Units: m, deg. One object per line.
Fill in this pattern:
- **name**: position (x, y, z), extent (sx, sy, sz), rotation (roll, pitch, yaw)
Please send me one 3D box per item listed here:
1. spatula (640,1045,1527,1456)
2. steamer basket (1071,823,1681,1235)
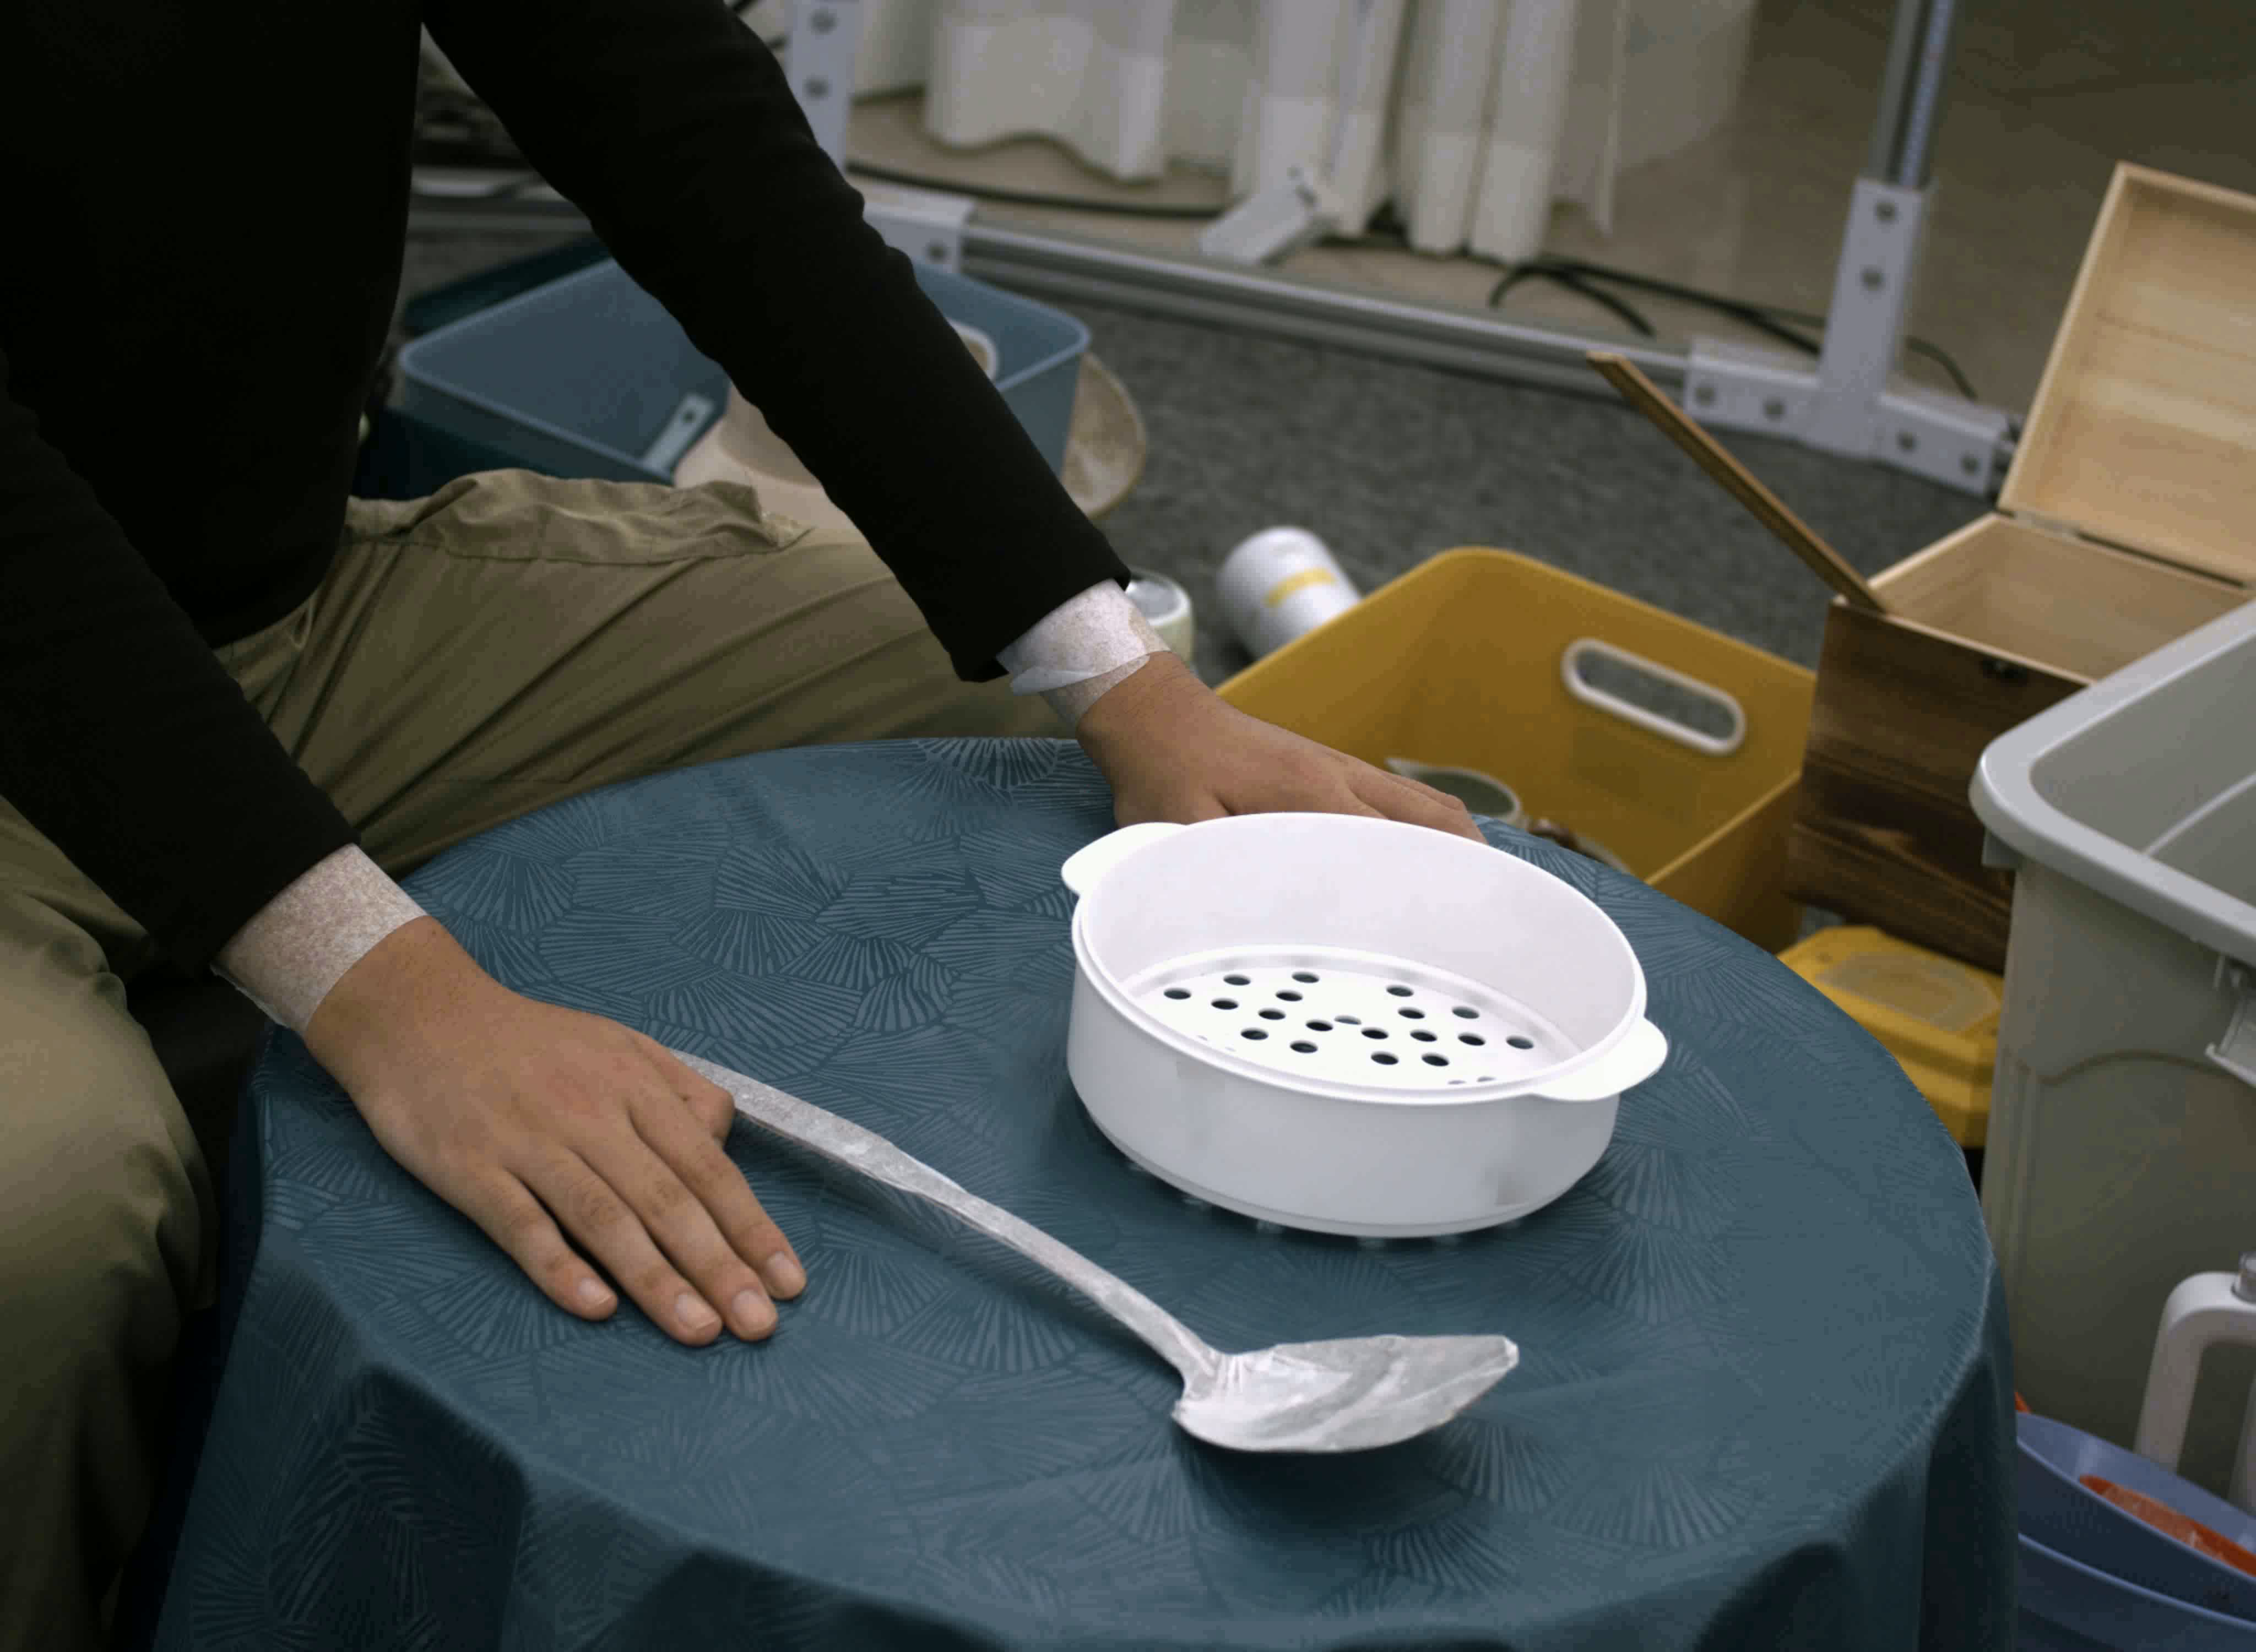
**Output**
- **spatula**: position (-0.035, 0.130, 1.741), extent (0.367, 0.044, 0.098), rotation (26, 35, 33)
- **steamer basket**: position (0.081, 0.071, 1.847), extent (0.232, 0.069, 0.201), rotation (22, 30, 30)
